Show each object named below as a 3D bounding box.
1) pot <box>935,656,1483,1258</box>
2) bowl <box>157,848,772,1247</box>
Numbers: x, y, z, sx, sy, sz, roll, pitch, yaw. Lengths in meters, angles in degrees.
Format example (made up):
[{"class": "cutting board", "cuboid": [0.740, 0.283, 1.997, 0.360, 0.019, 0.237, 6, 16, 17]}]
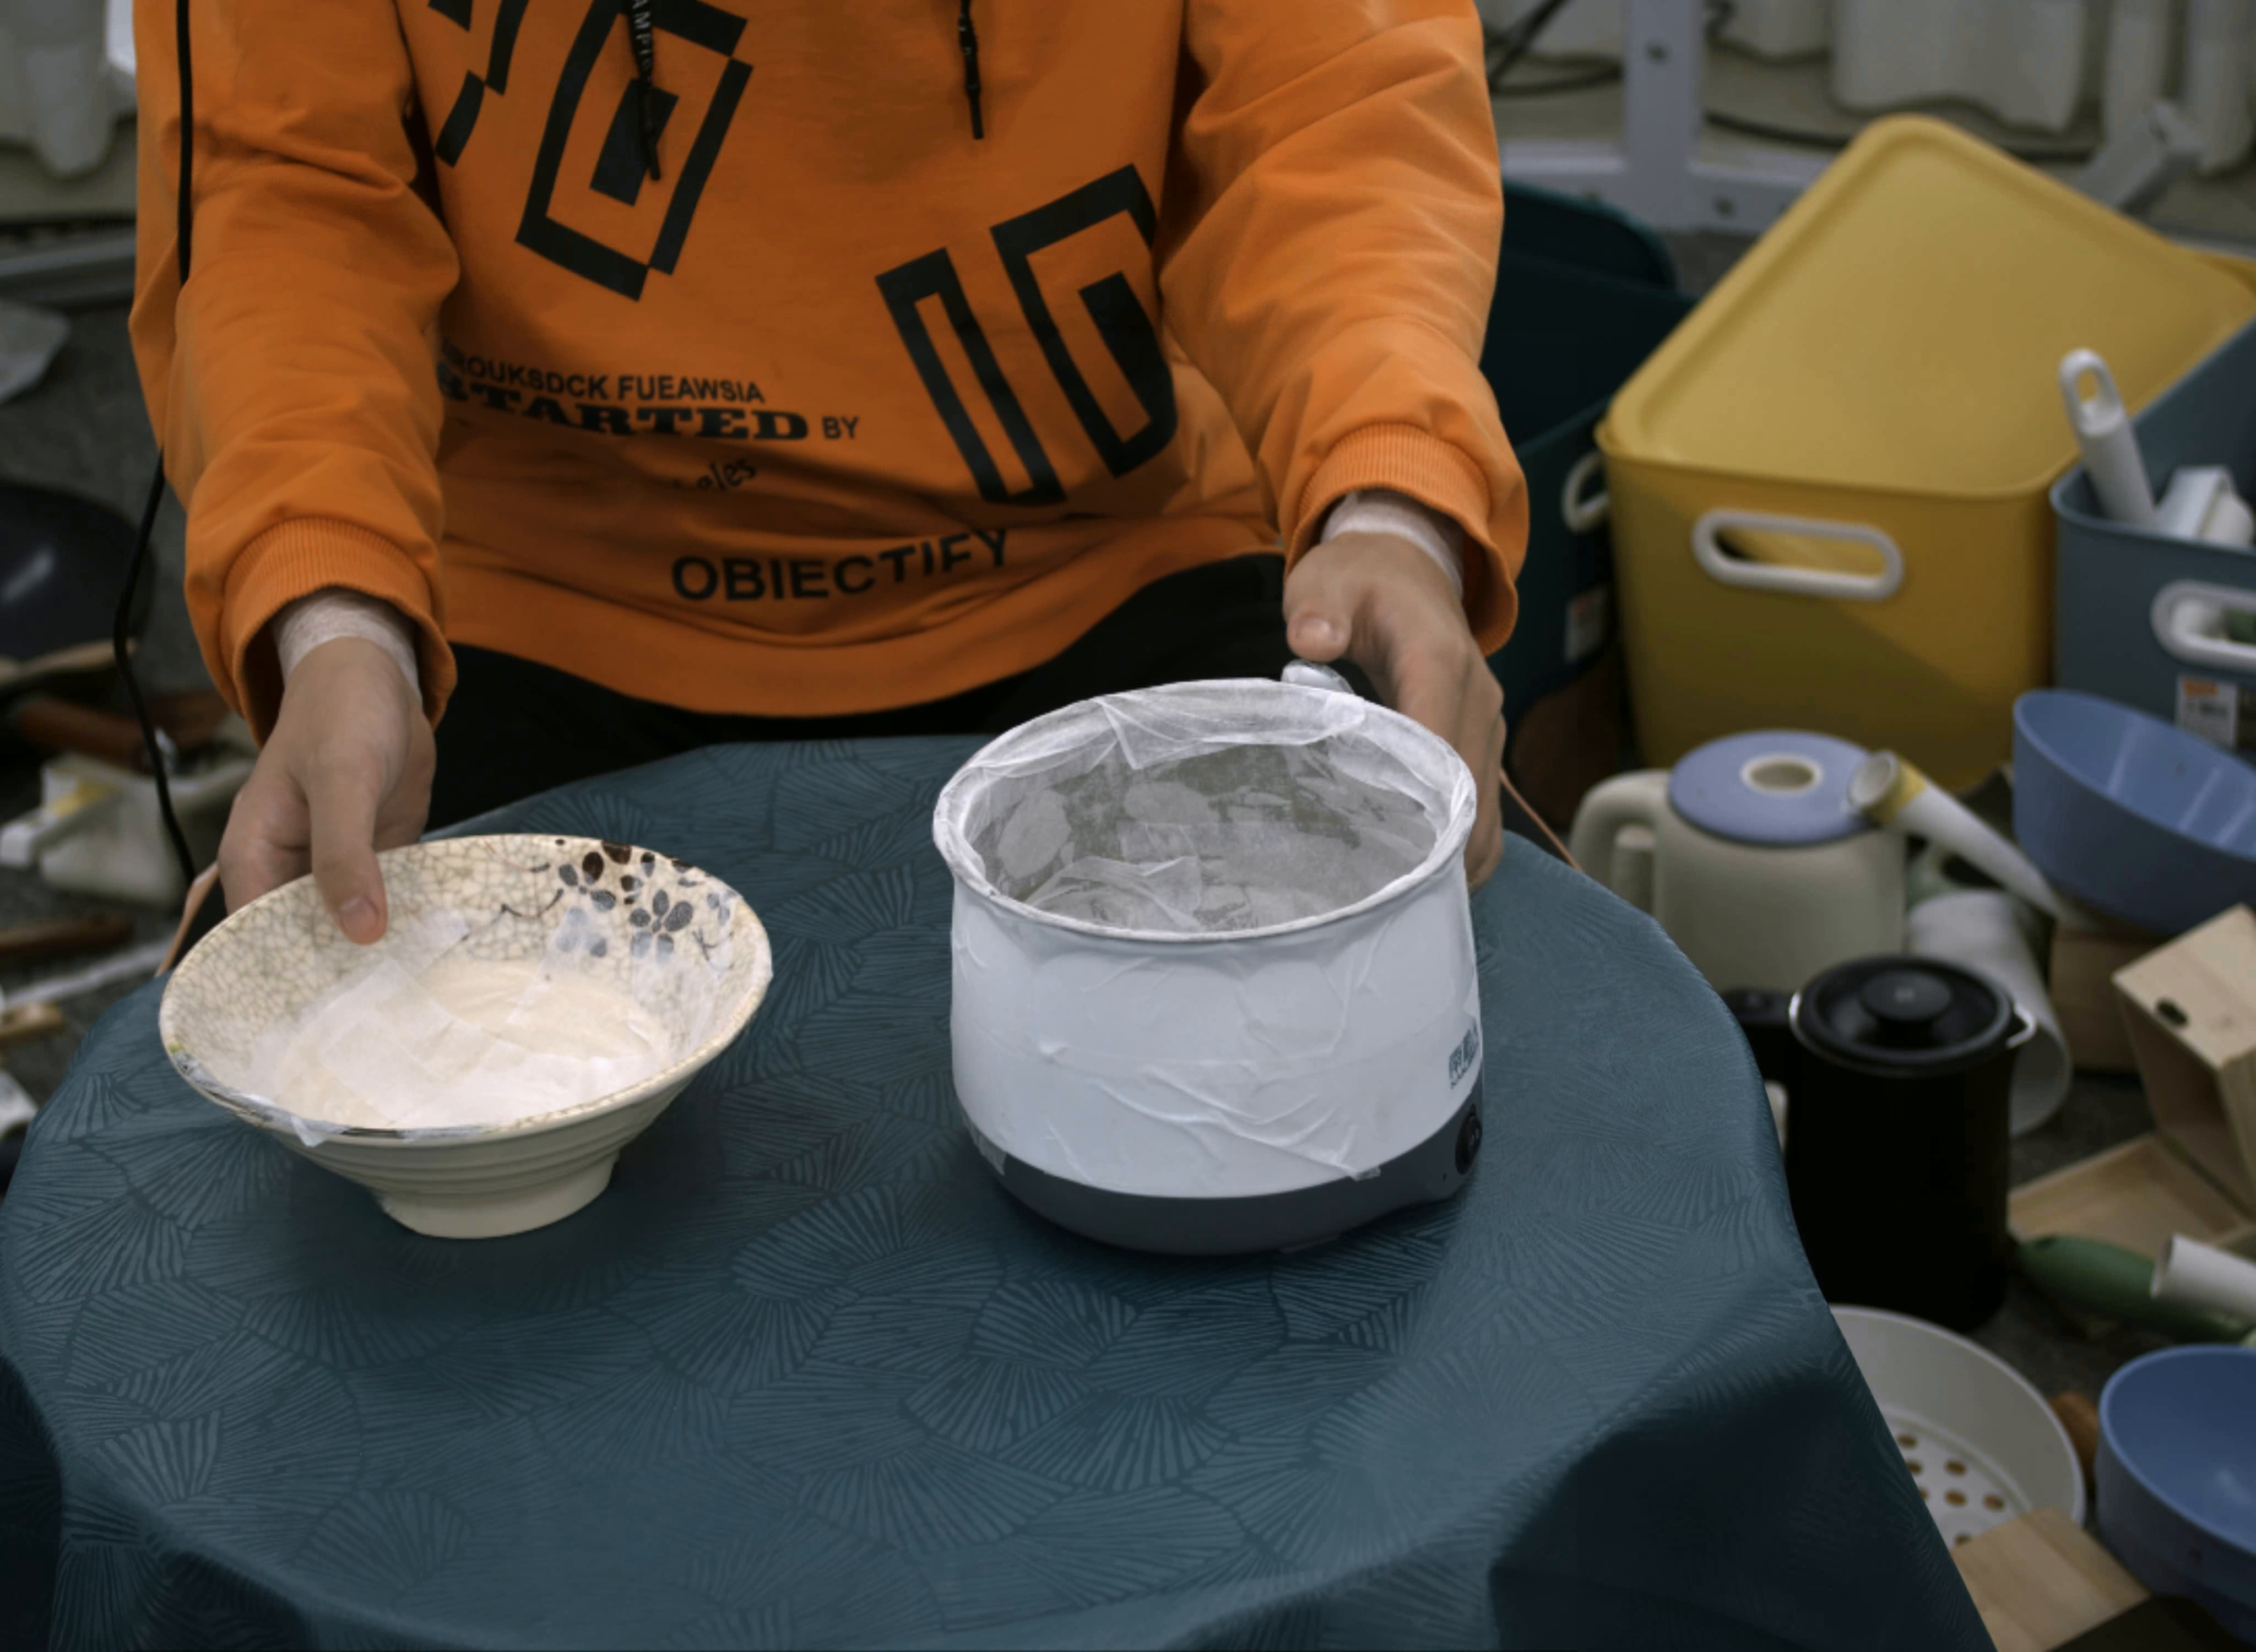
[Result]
[{"class": "pot", "cuboid": [0.038, 0.036, 1.877, 0.177, 0.135, 0.238, 7, 29, 18]}, {"class": "bowl", "cuboid": [-0.217, 0.086, 1.873, 0.203, 0.077, 0.207, -3, 25, 2]}]
